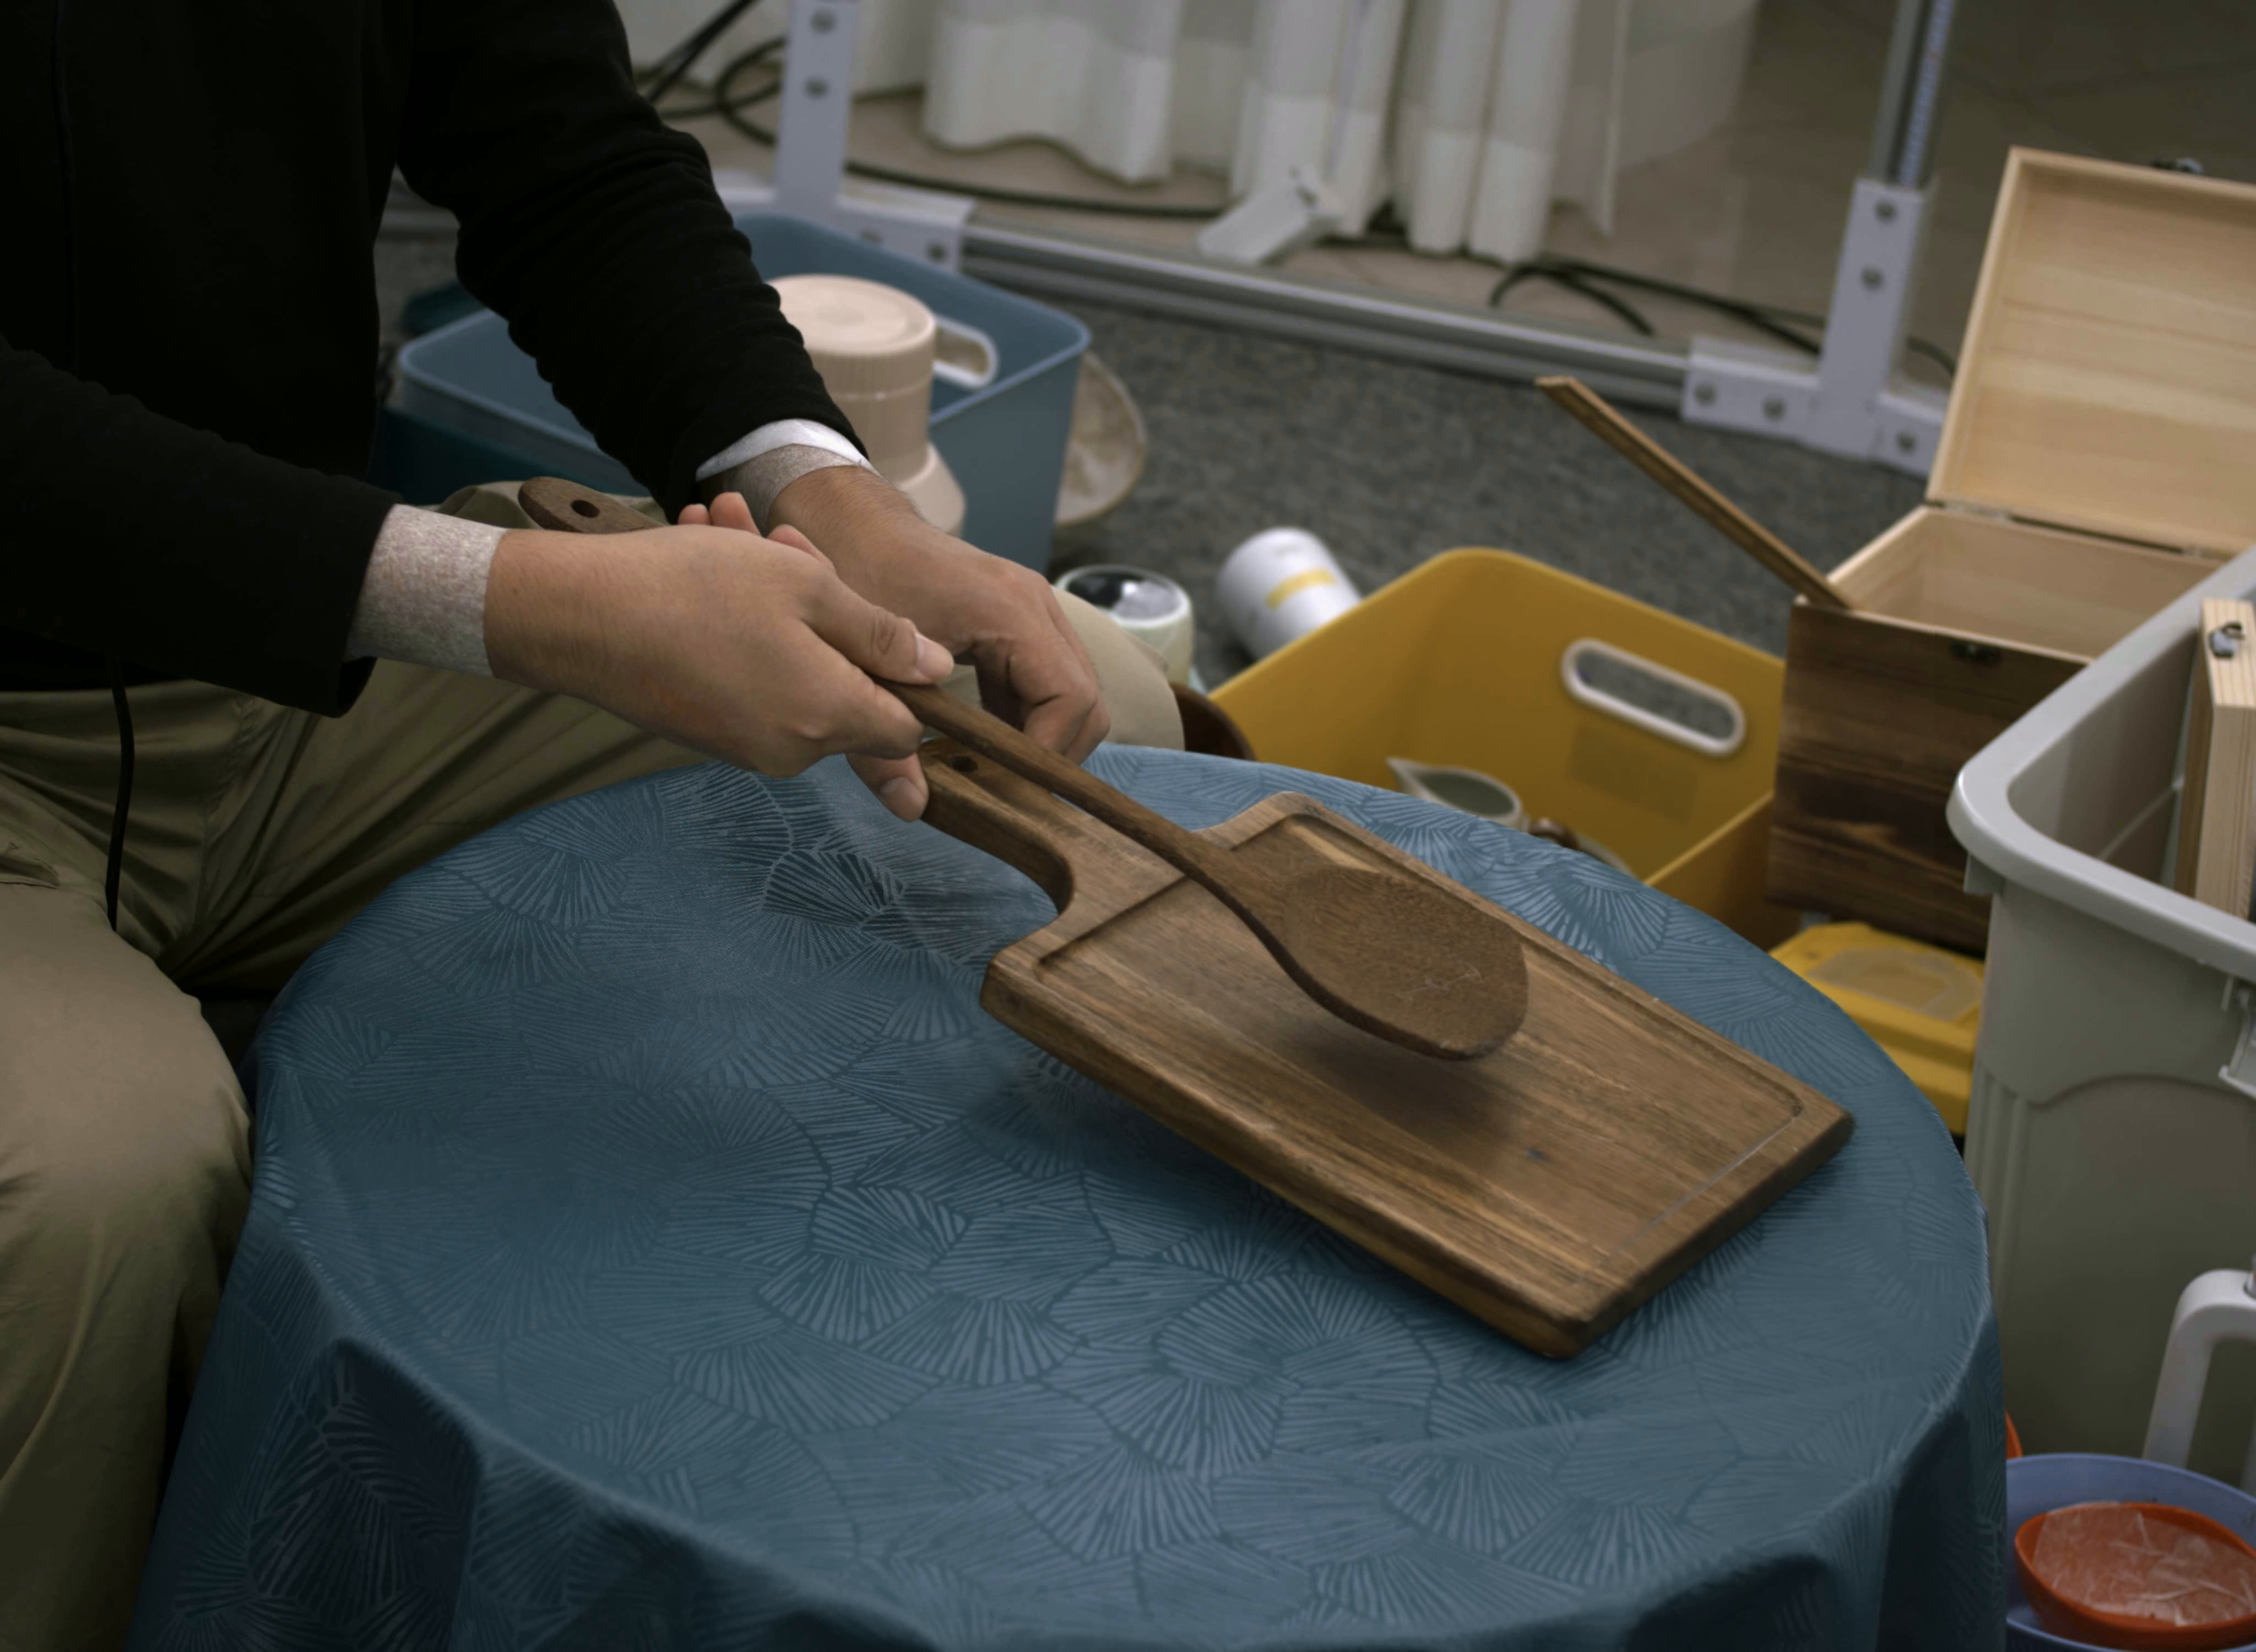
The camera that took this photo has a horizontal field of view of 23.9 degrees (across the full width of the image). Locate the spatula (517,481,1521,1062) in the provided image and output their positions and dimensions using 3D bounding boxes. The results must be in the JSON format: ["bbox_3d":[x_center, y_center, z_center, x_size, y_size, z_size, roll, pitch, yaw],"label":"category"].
[{"bbox_3d":[-0.036,-0.024,1.811,0.385,0.016,0.096,29,31,-4],"label":"spatula"}]

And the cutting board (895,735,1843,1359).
[{"bbox_3d":[0.061,0.057,1.869,0.354,0.023,0.200,30,34,24],"label":"cutting board"}]
